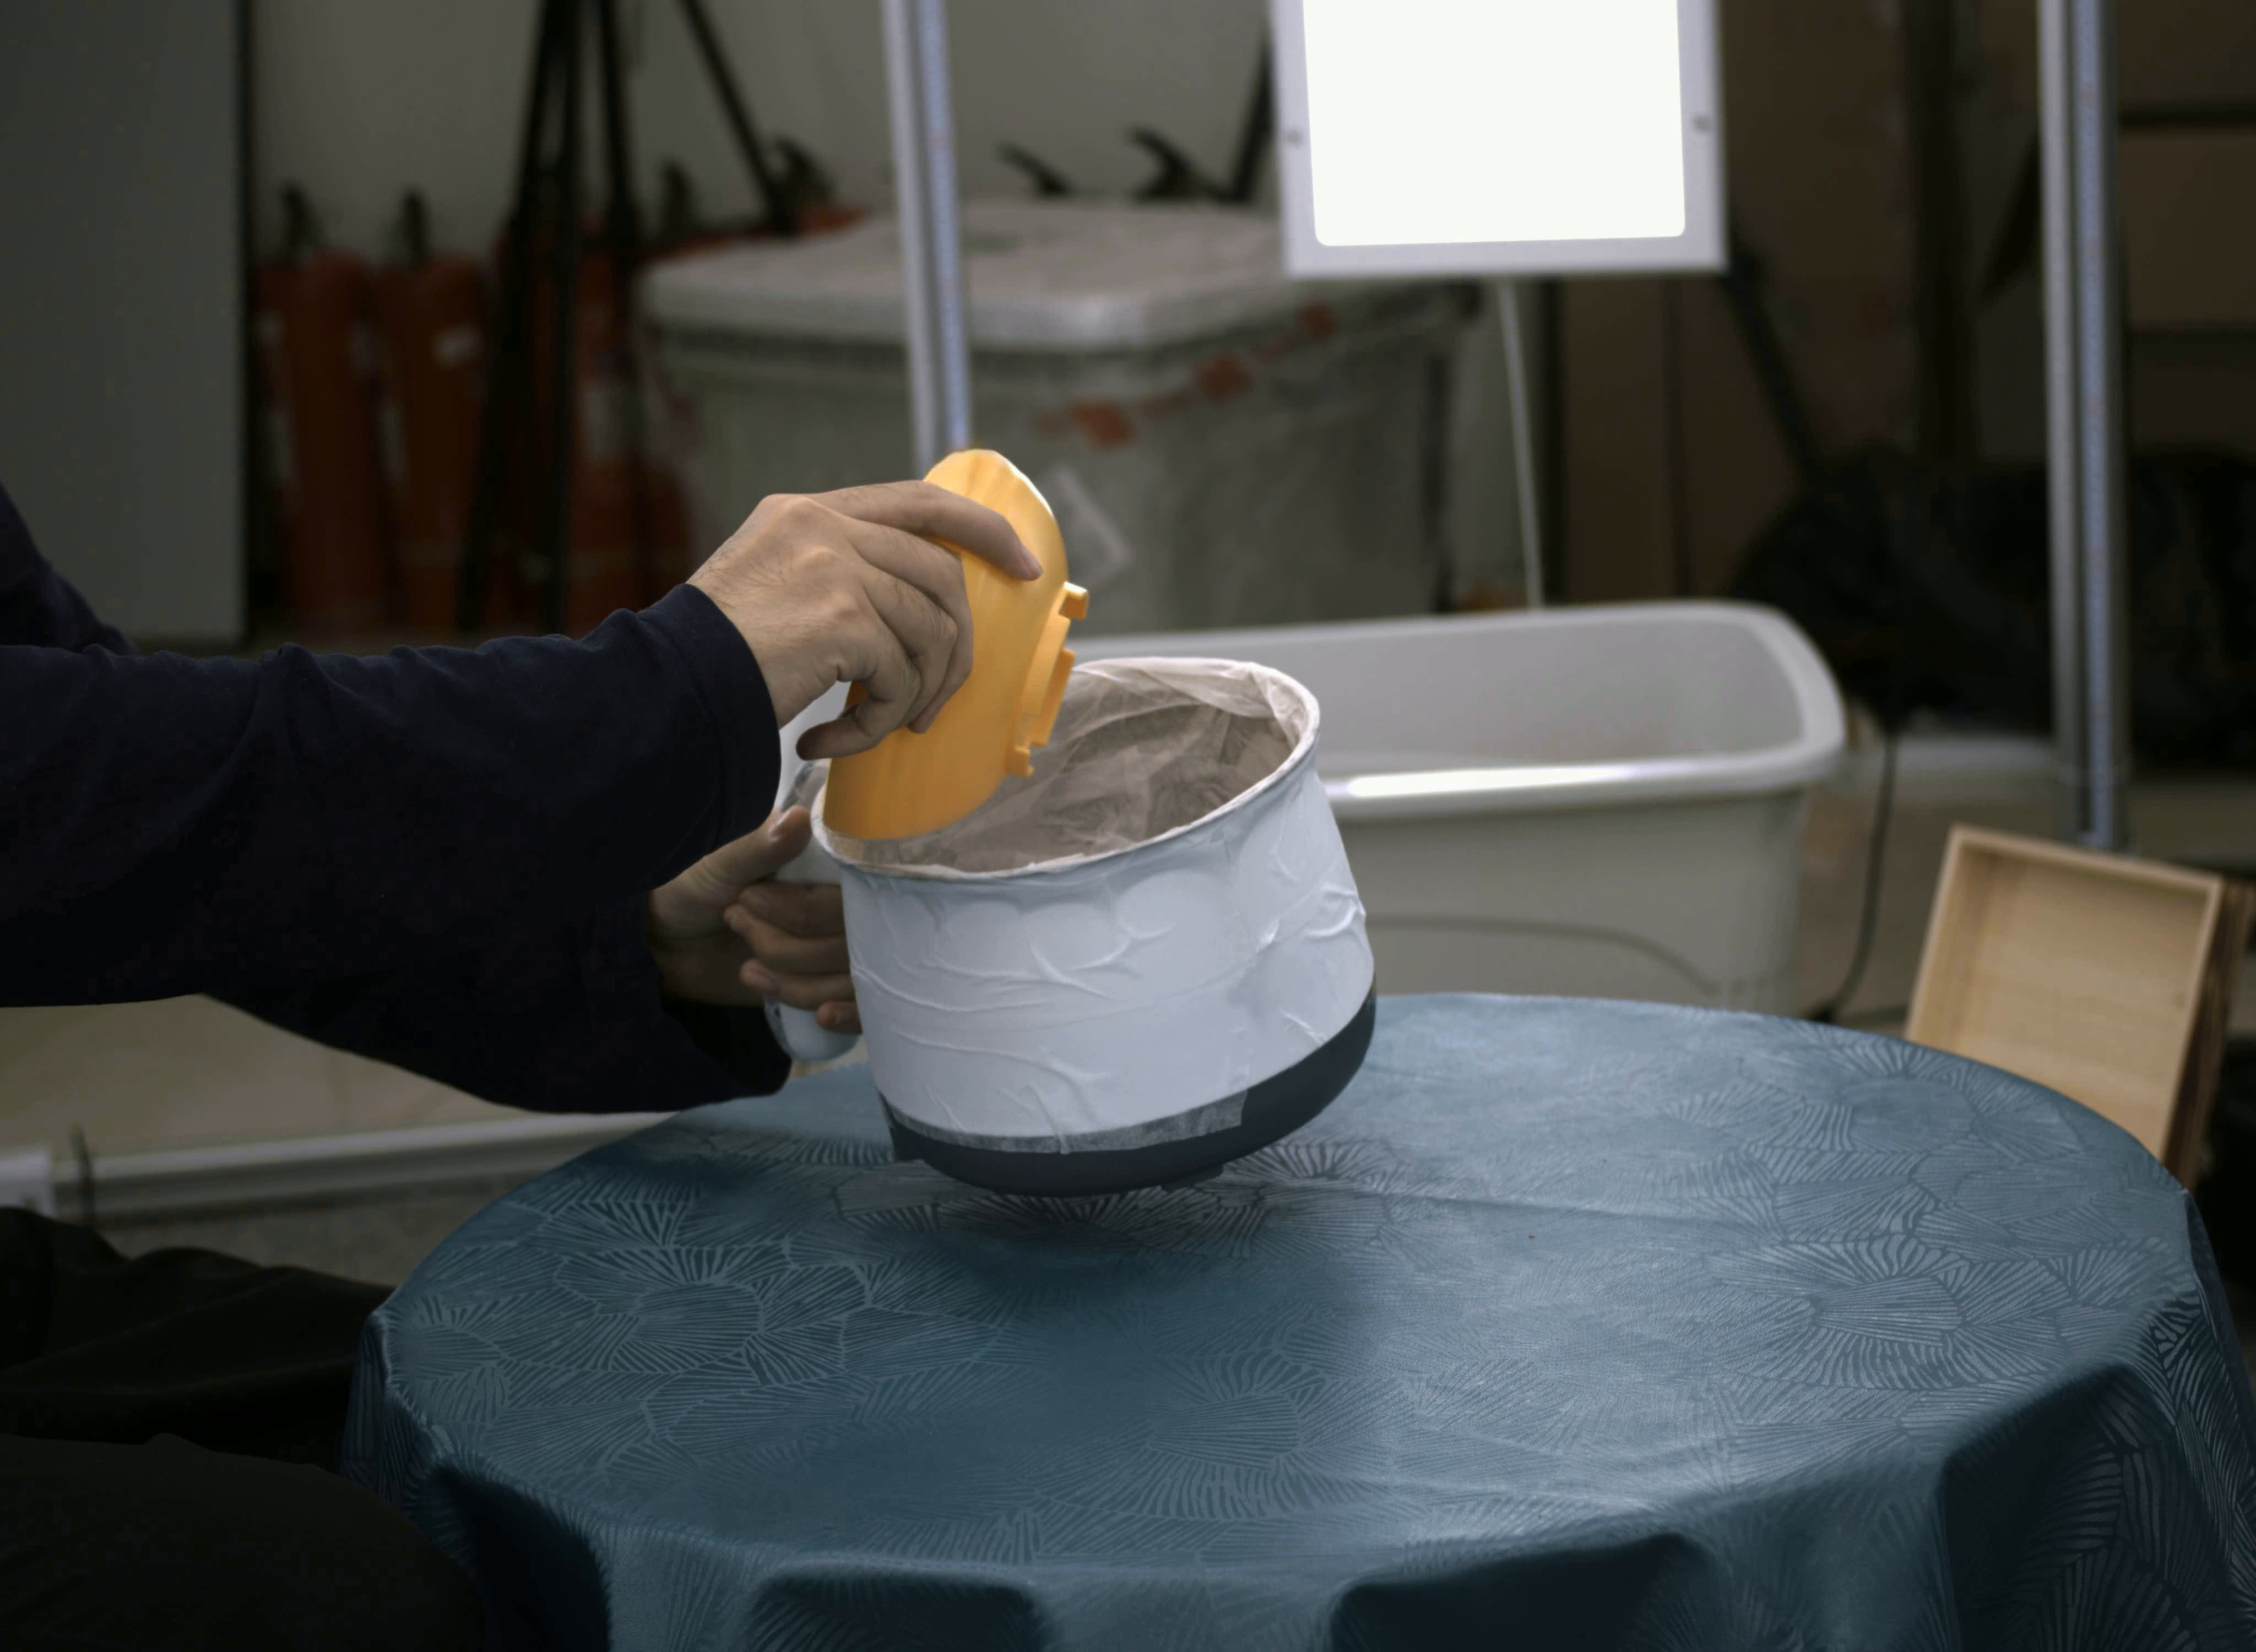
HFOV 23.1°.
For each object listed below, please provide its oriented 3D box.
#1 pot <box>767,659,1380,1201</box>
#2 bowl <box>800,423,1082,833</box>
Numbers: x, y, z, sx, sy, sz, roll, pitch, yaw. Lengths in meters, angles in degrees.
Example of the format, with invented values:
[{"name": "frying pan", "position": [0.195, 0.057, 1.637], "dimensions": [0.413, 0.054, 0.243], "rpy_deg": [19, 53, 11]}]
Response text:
[{"name": "pot", "position": [-0.031, 0.037, 1.897], "dimensions": [0.238, 0.137, 0.175], "rpy_deg": [-1, 25, 34]}, {"name": "bowl", "position": [-0.055, -0.057, 1.844], "dimensions": [0.060, 0.146, 0.143], "rpy_deg": [21, 19, 9]}]
